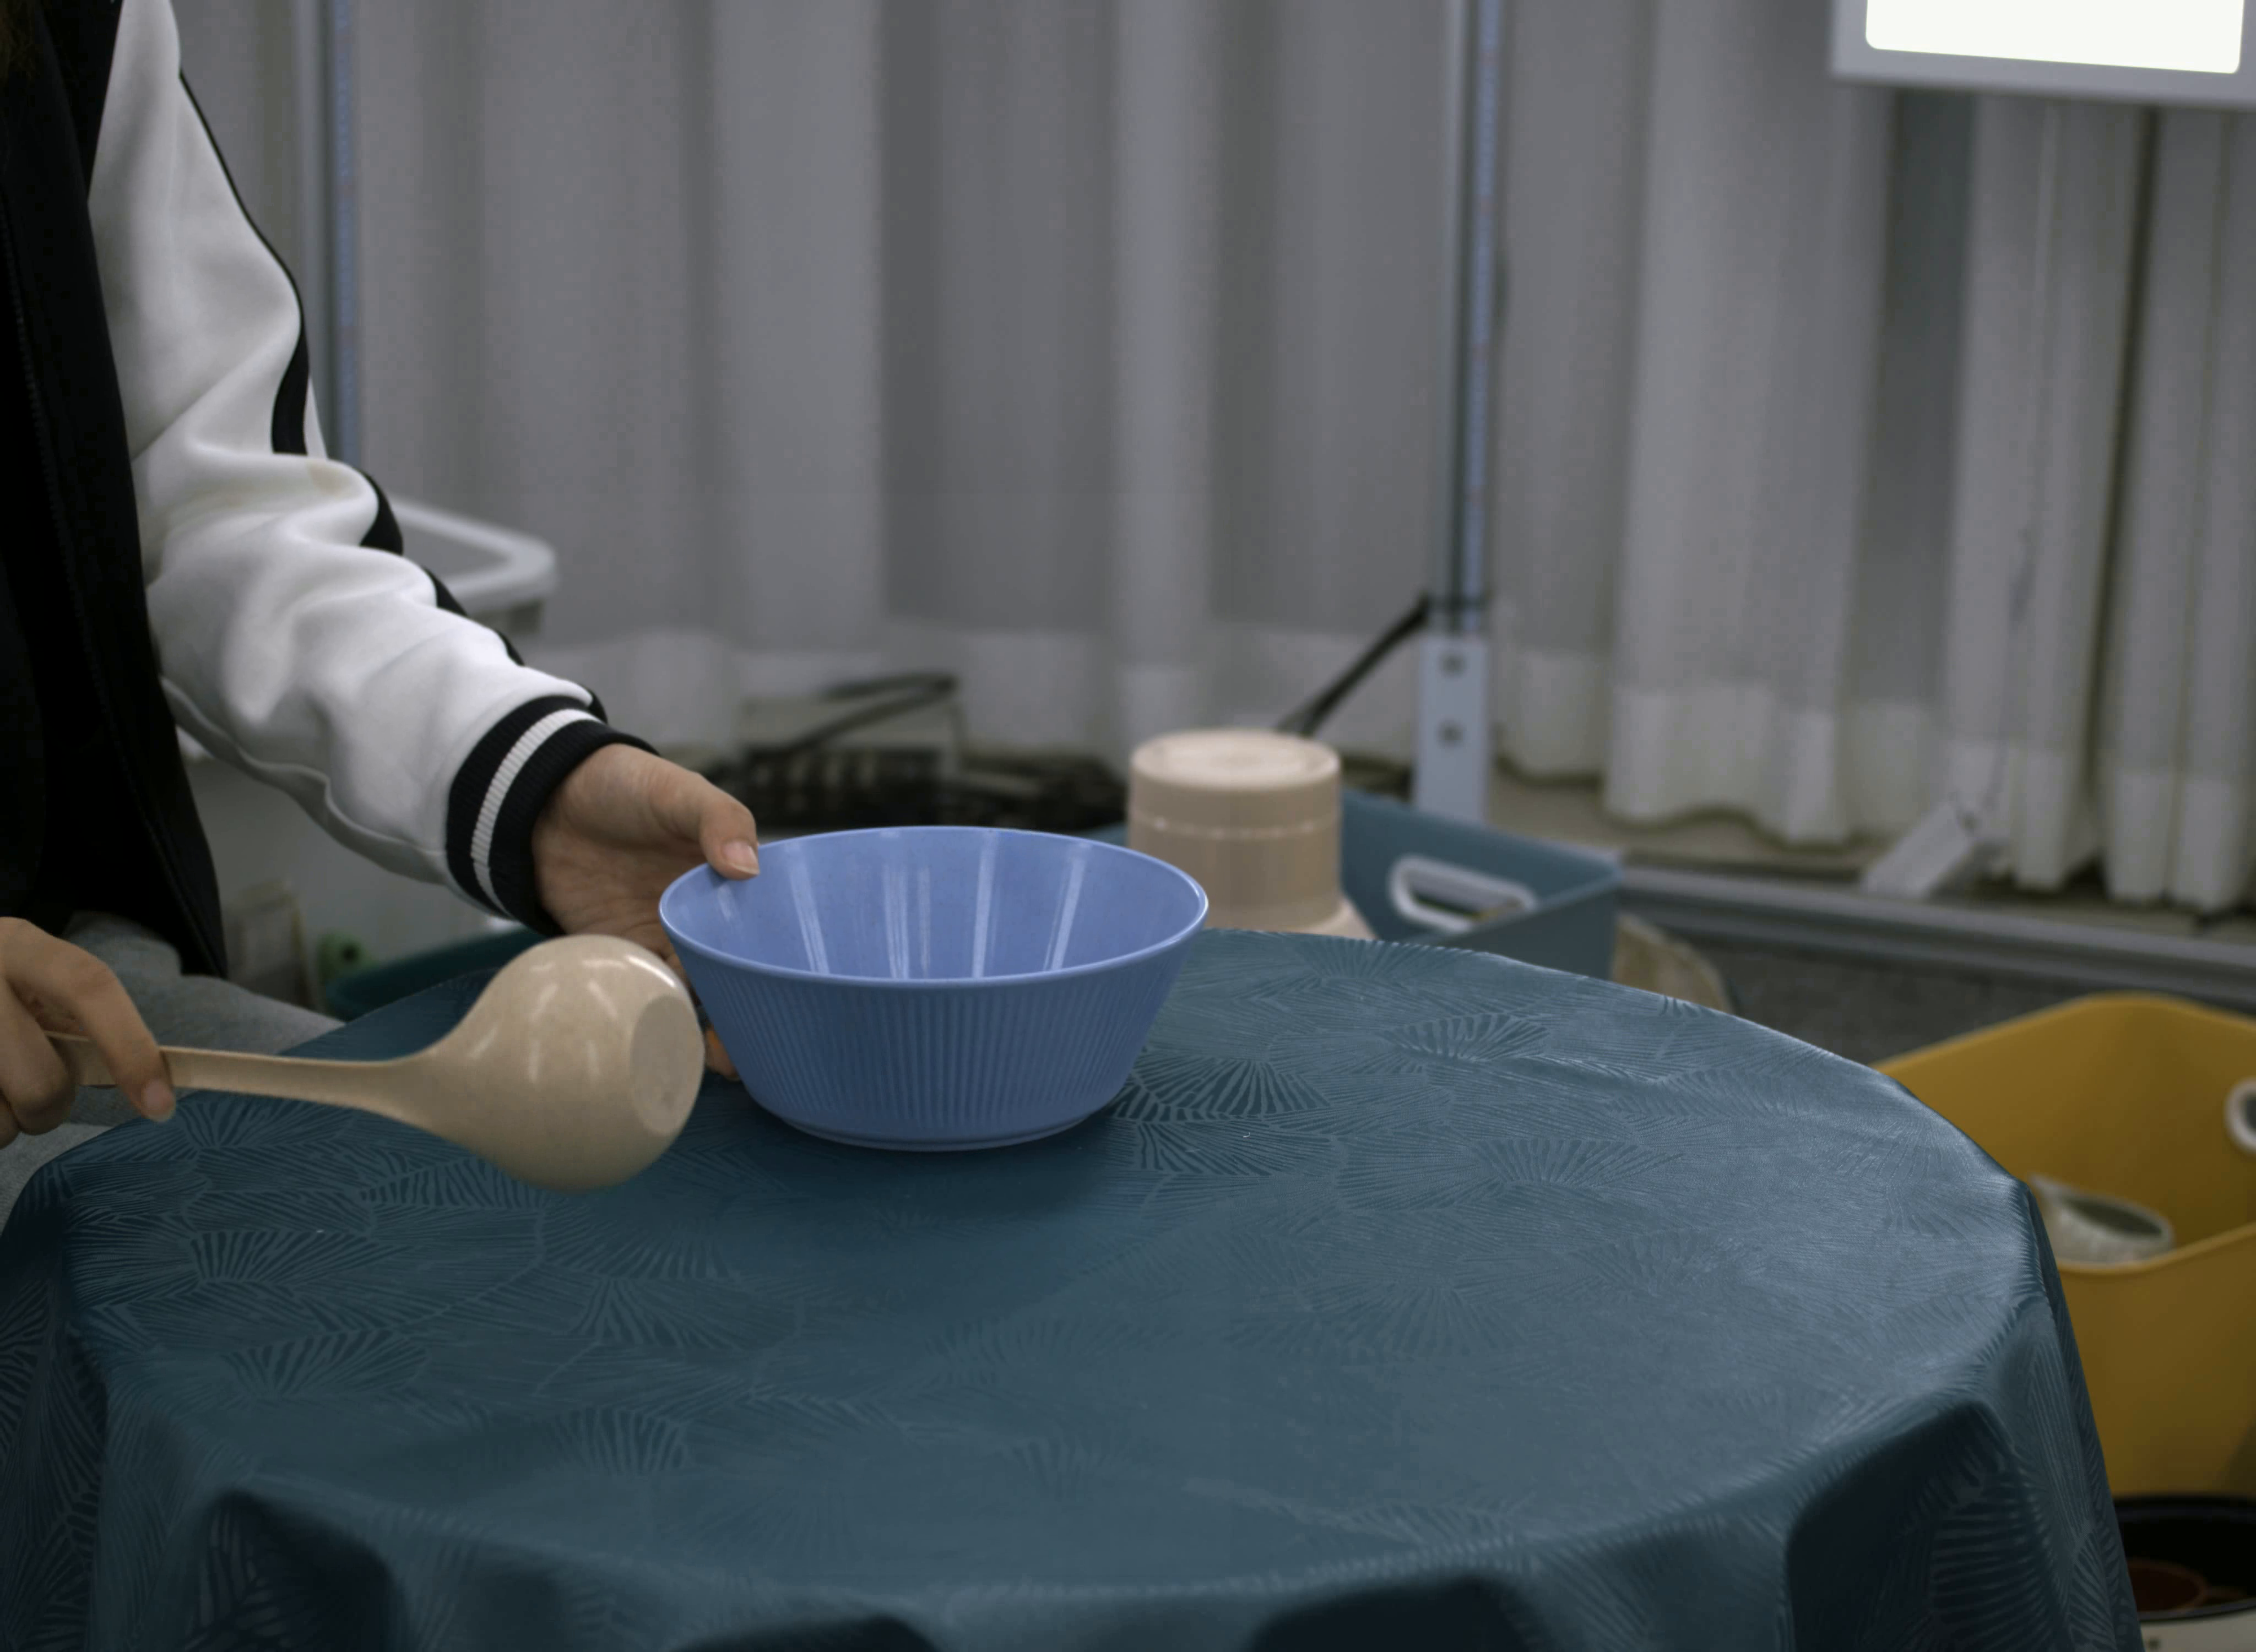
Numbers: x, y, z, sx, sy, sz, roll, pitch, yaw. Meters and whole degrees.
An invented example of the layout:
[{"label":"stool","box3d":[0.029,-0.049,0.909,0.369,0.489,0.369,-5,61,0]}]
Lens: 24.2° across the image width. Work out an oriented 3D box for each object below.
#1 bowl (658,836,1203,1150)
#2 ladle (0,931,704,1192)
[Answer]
[{"label":"bowl","box3d":[-0.063,0.055,1.693,0.175,0.071,0.175,1,15,0]},{"label":"ladle","box3d":[-0.235,0.059,1.497,0.251,0.073,0.073,4,15,30]}]
